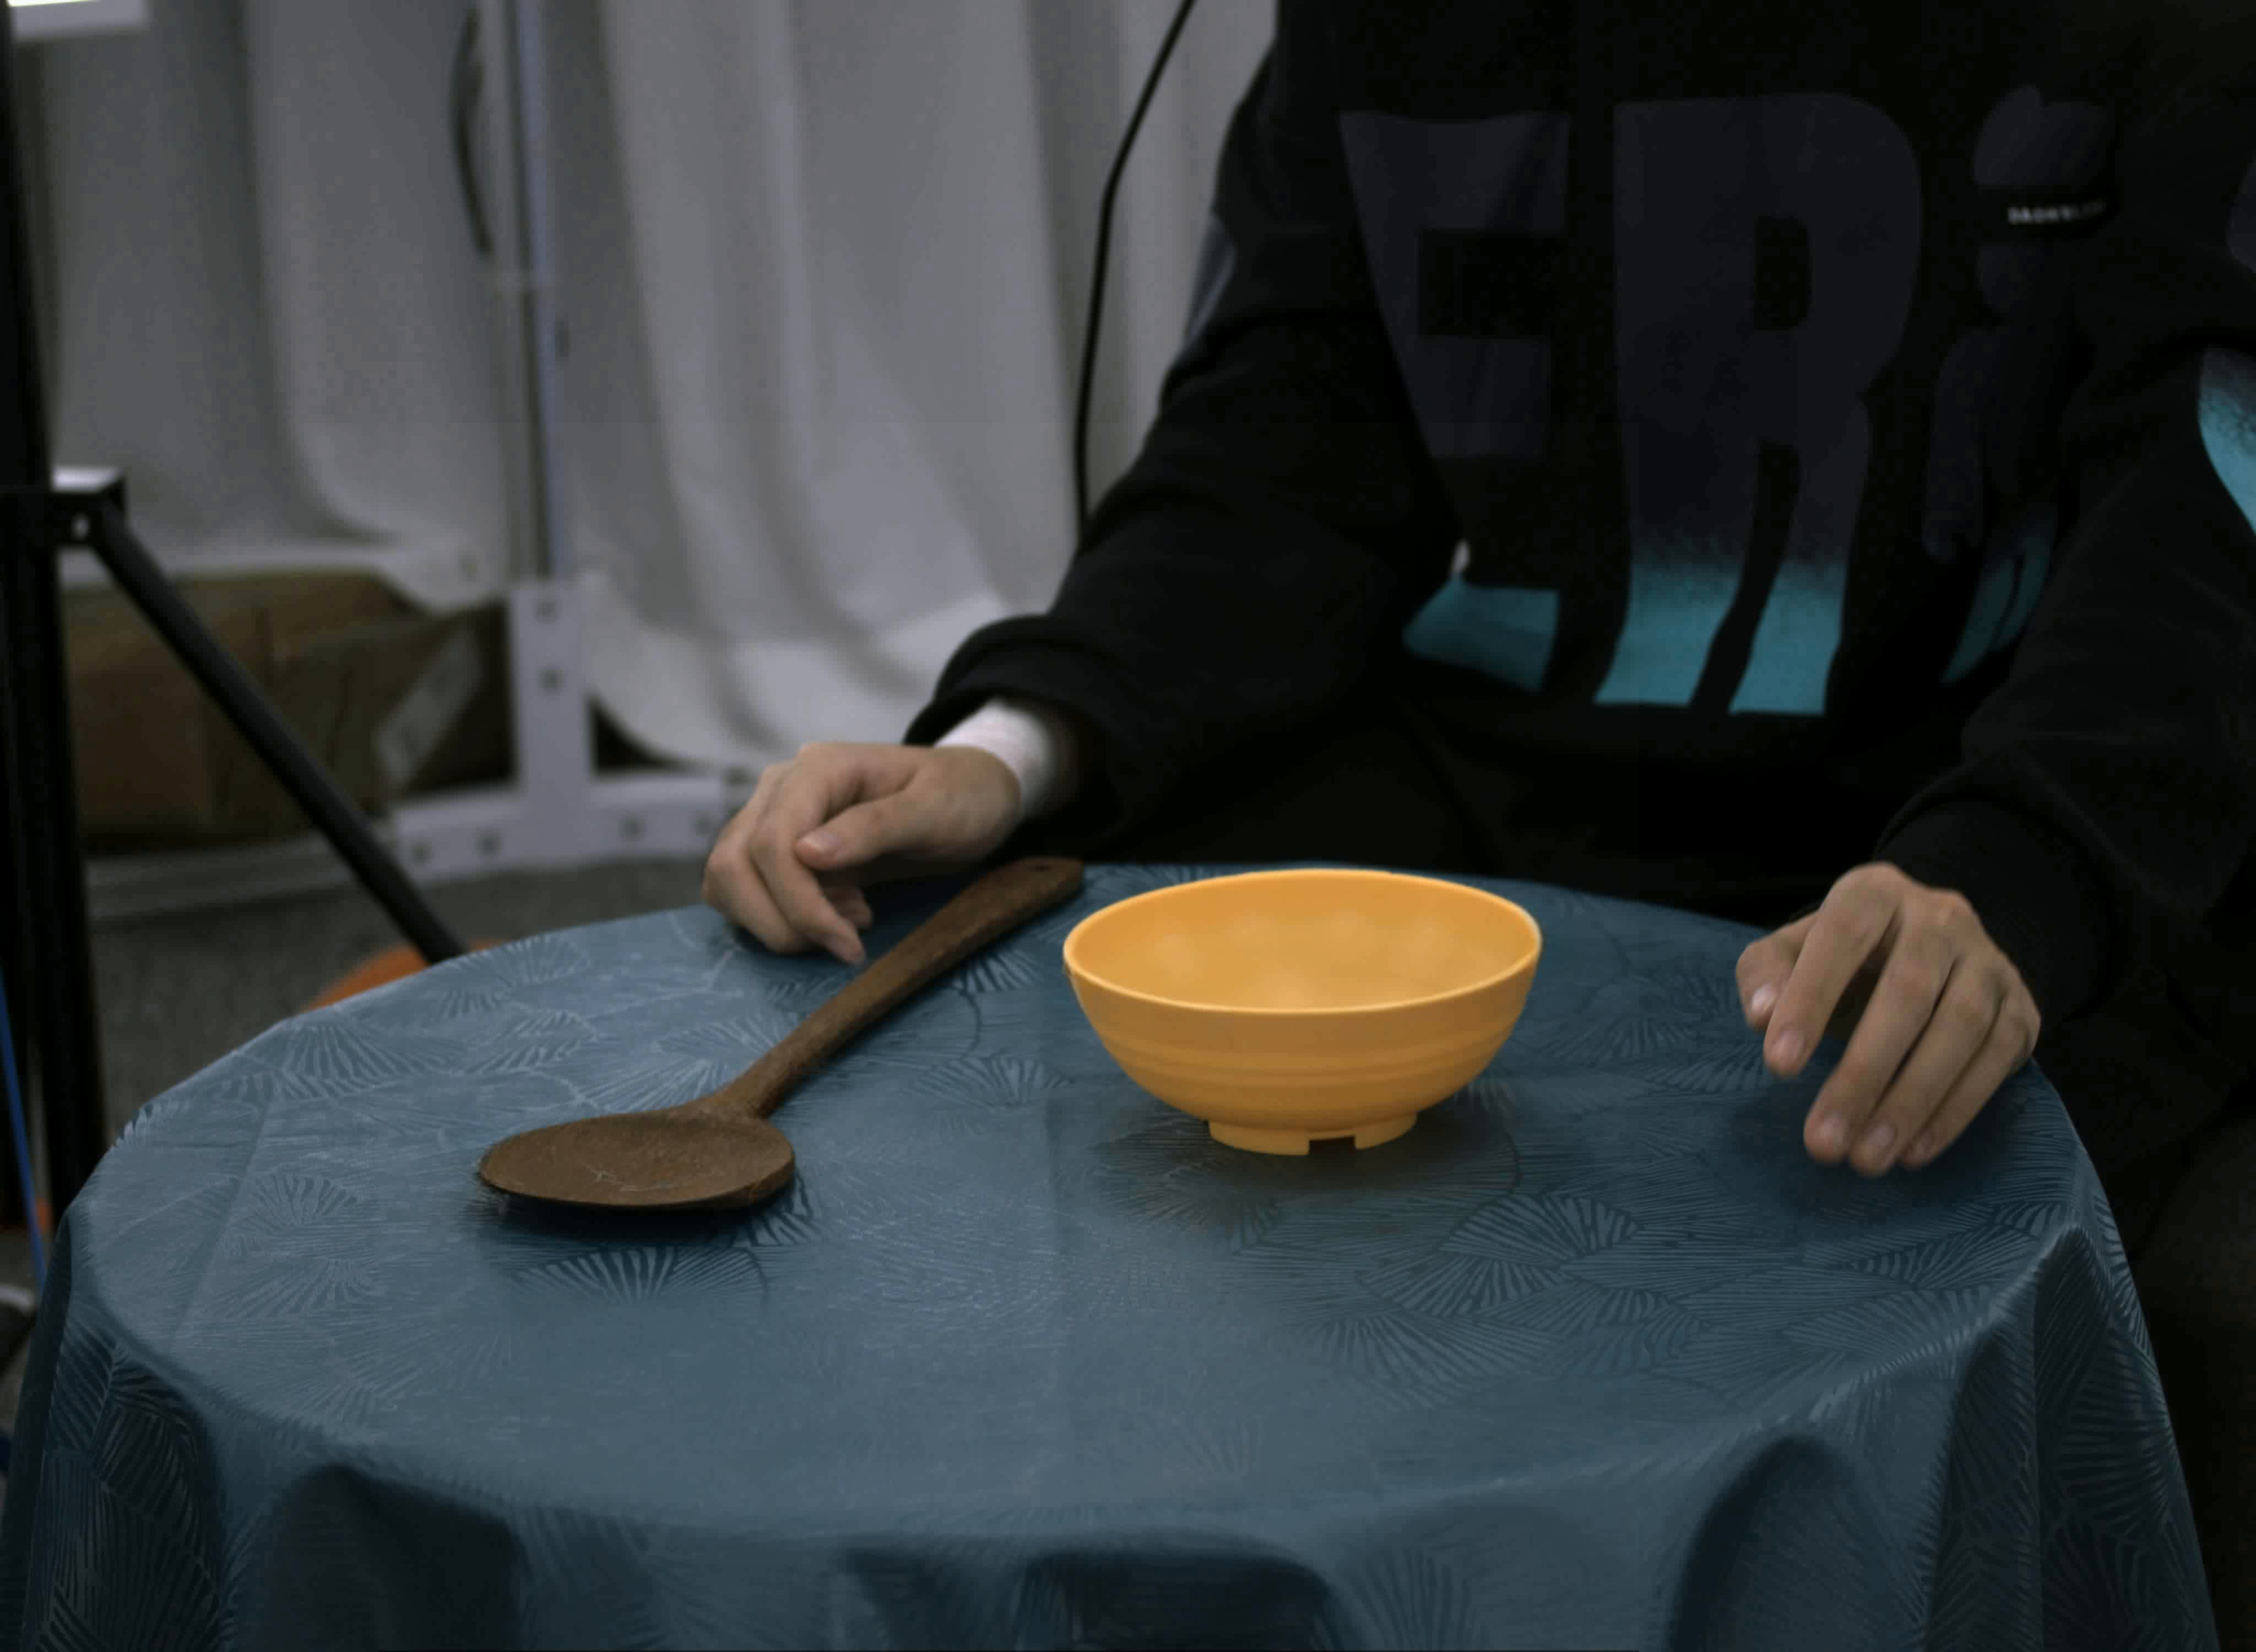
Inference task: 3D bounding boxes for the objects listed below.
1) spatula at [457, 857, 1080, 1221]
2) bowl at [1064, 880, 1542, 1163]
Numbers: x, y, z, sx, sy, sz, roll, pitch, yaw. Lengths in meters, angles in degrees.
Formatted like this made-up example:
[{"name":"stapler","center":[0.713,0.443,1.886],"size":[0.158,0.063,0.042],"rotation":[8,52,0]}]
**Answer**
[{"name":"spatula","center":[-0.093,0.062,1.710],"size":[0.097,0.016,0.381],"rotation":[4,17,21]},{"name":"bowl","center":[0.053,0.064,1.605],"size":[0.144,0.060,0.146],"rotation":[-1,14,-1]}]
